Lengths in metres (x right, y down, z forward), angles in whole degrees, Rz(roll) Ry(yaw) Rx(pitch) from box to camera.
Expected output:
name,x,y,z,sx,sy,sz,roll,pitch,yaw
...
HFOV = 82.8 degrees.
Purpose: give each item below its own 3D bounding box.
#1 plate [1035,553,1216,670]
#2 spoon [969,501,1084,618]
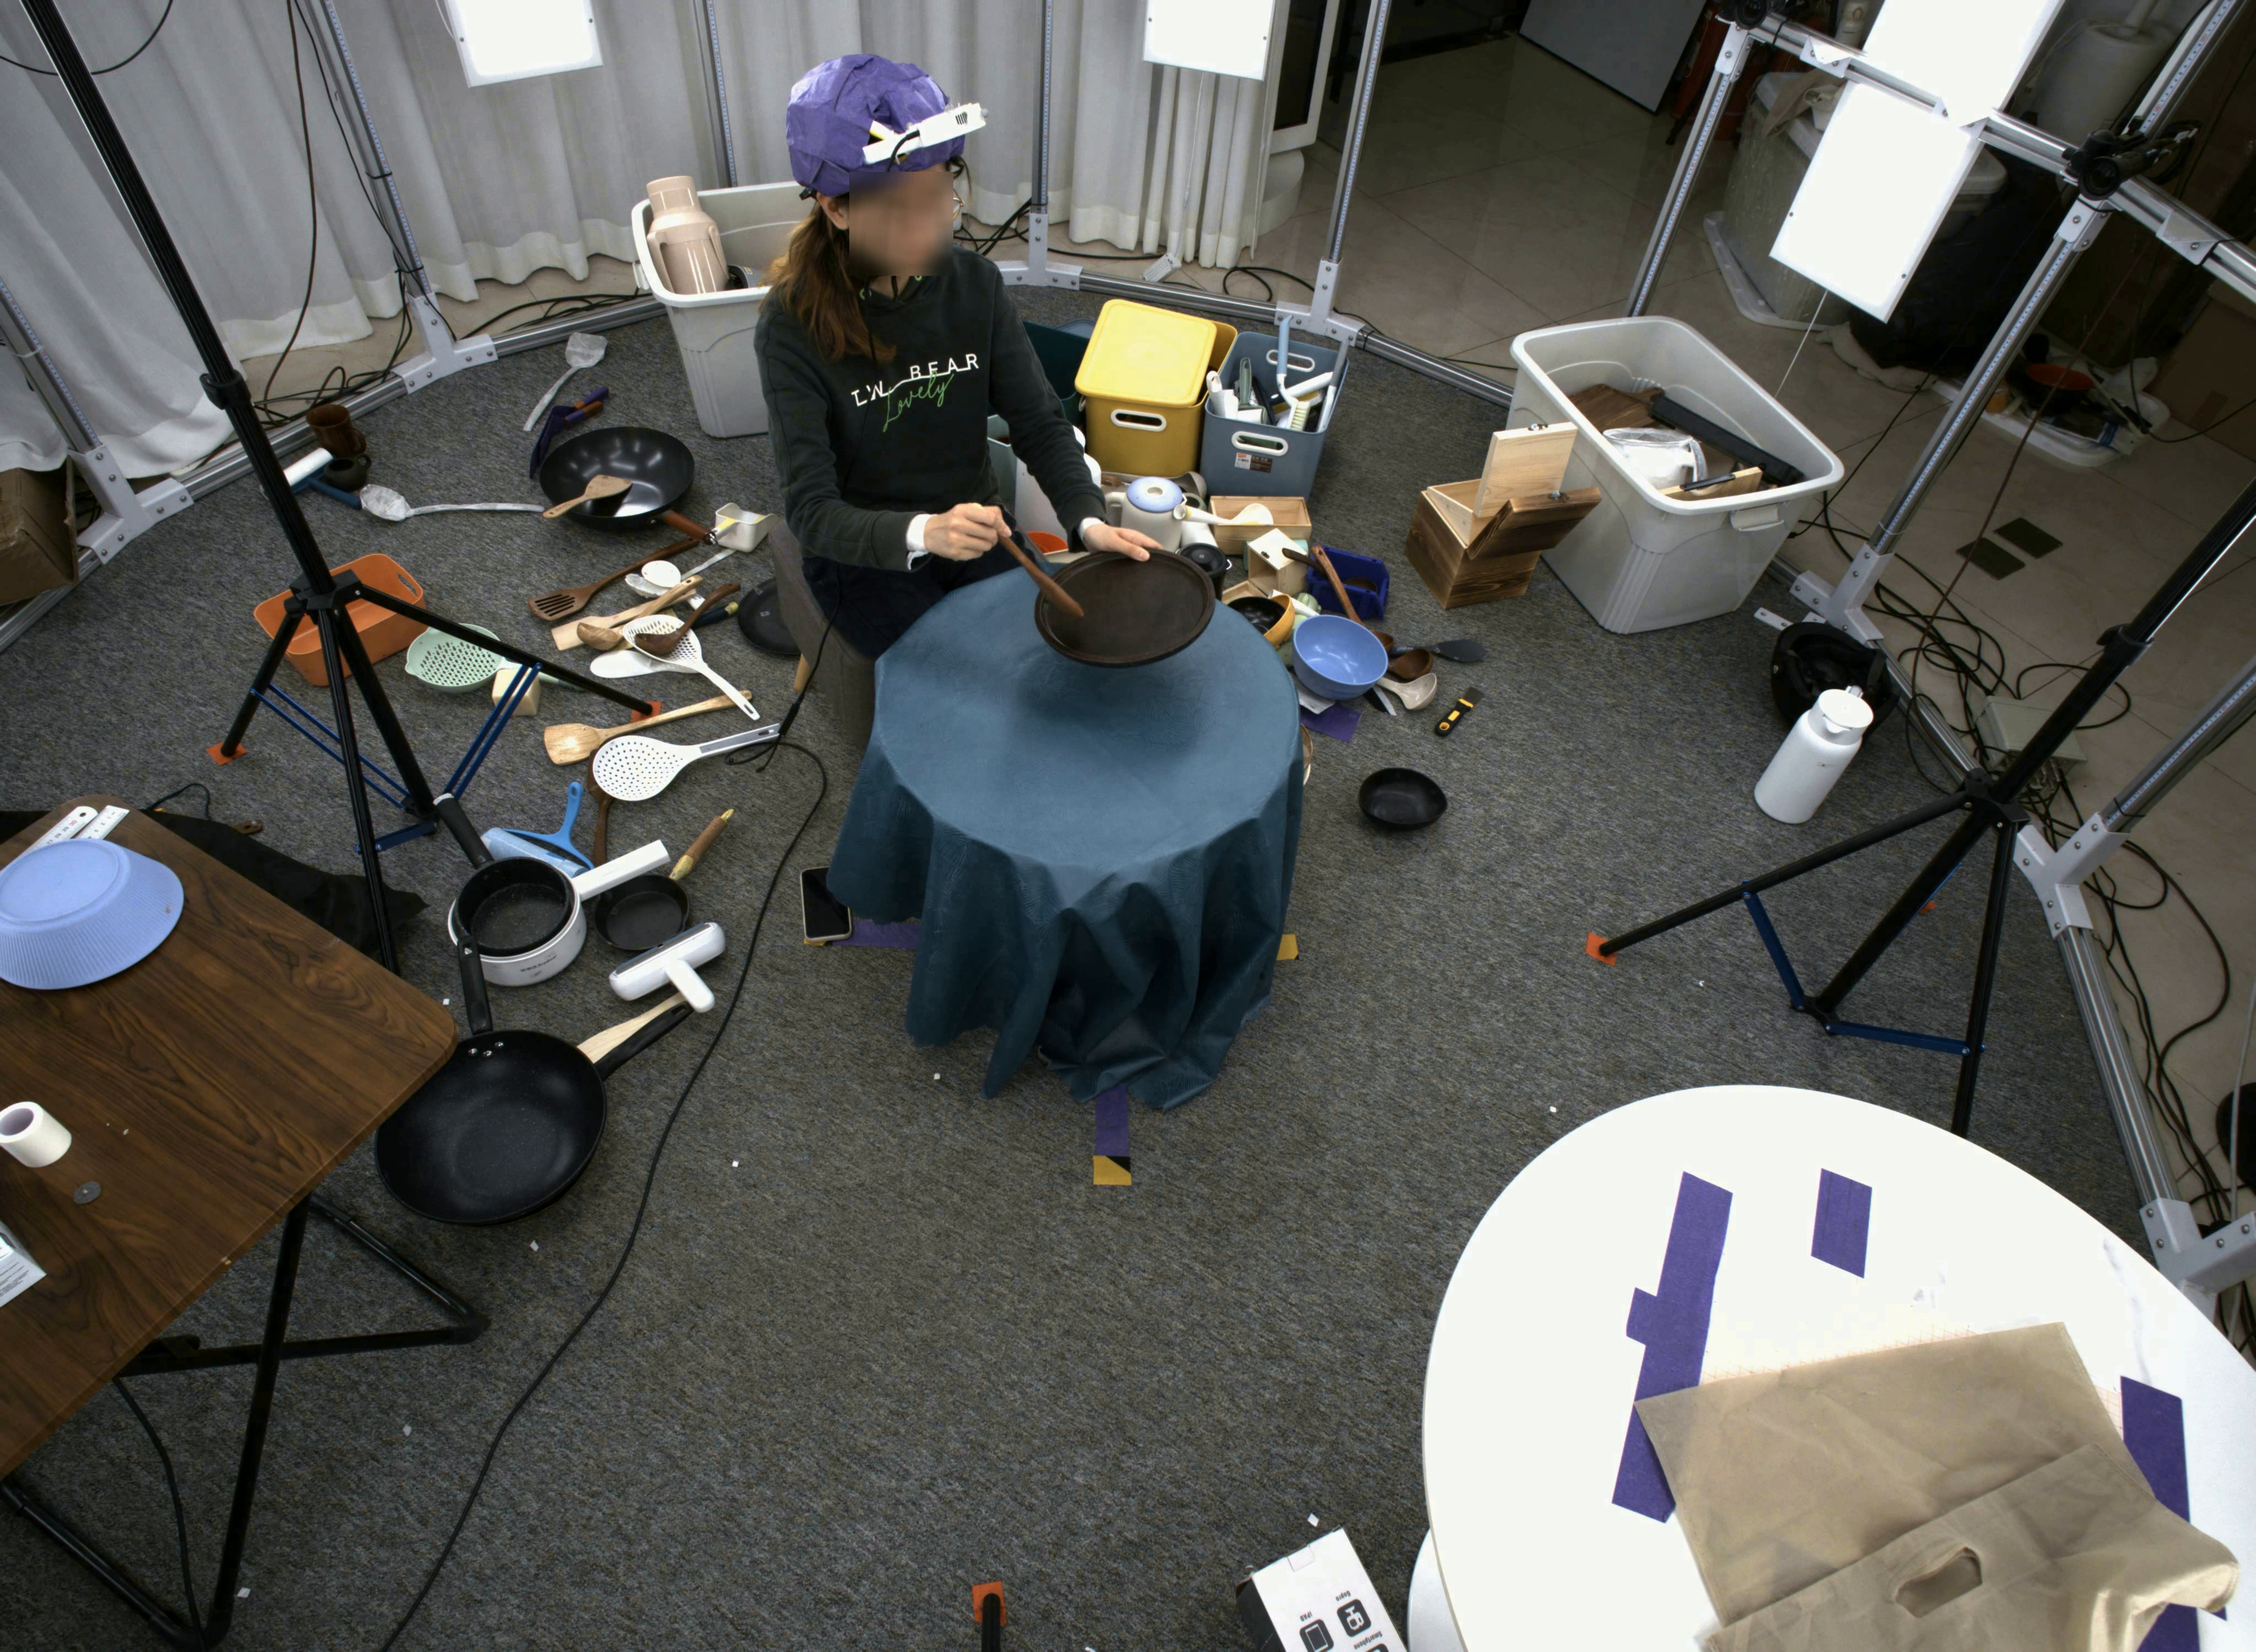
name,x,y,z,sx,sy,sz,roll,pitch,yaw
plate,-0.003,-0.303,1.802,0.255,0.028,0.261,-3,47,3
spoon,-0.133,-0.348,1.708,0.017,0.212,0.077,-47,30,-2
